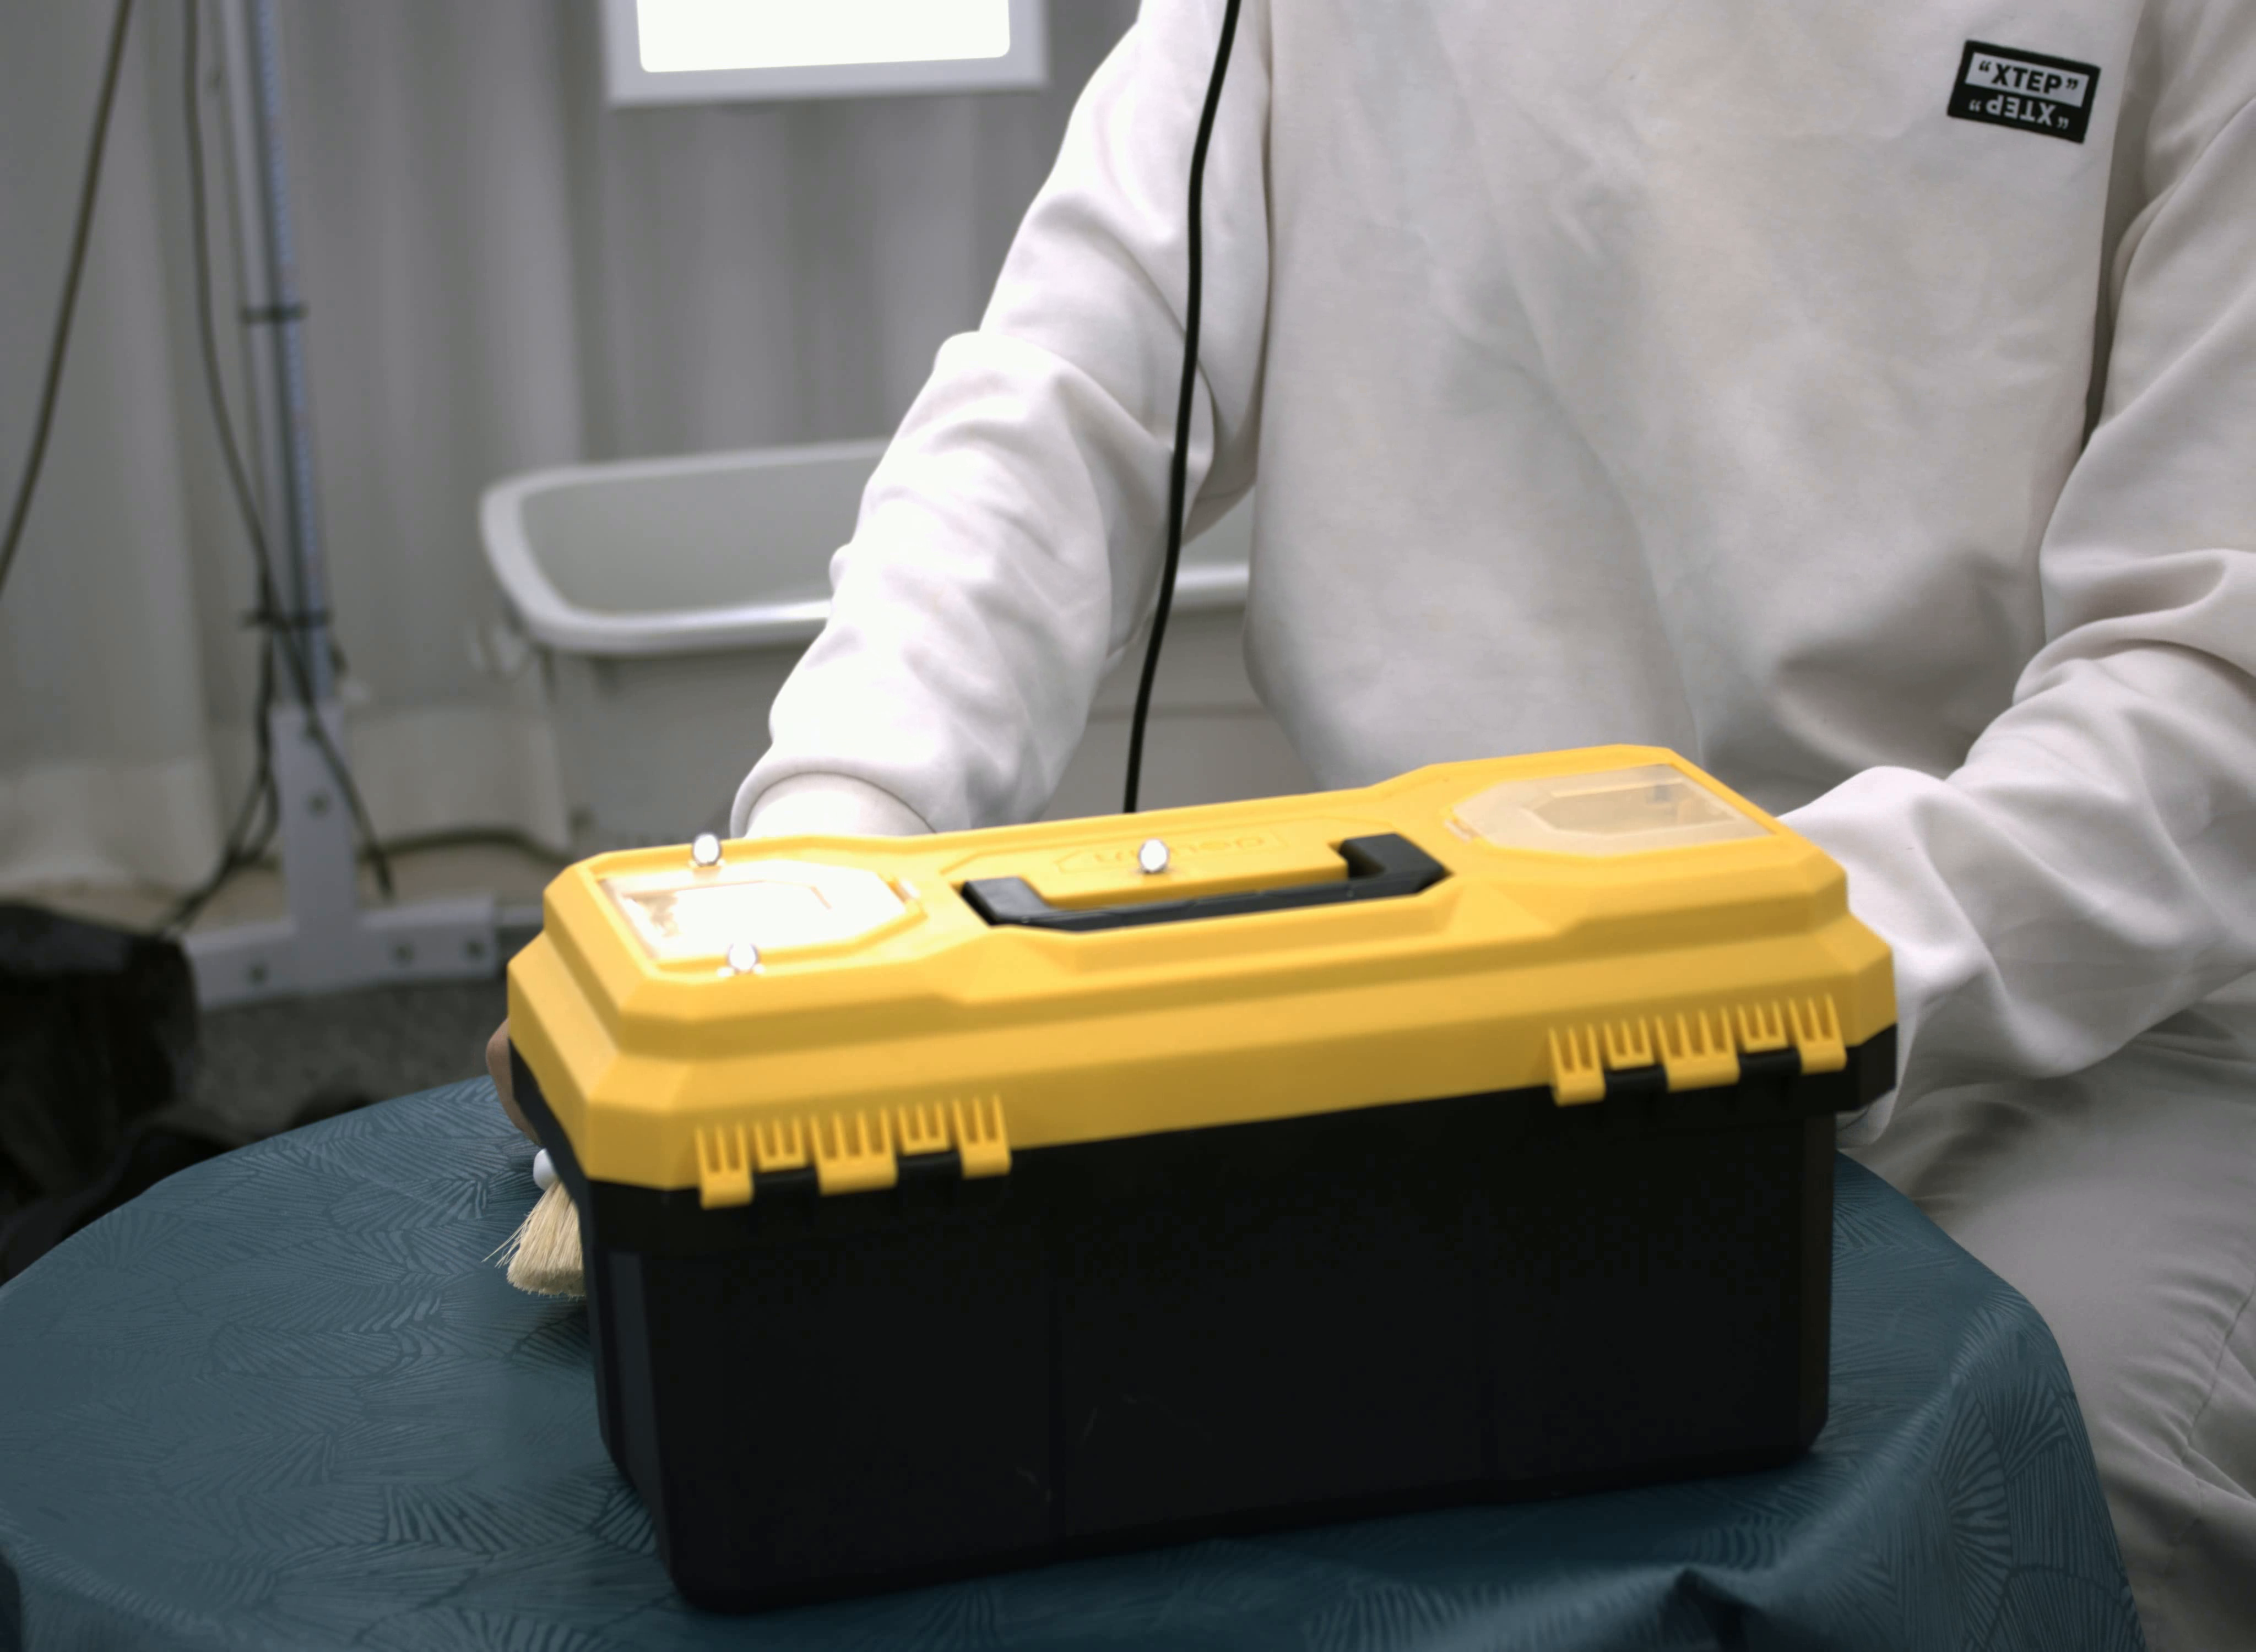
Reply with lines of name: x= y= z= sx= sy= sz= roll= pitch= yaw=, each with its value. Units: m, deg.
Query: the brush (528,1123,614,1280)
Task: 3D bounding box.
brush: x=-0.149 y=0.113 z=1.721 sx=0.068 sy=0.056 sz=0.266 roll=14 pitch=-2 yaw=-5

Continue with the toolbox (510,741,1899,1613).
toolbox: x=0.019 y=0.090 z=1.473 sx=0.350 sy=0.172 sz=0.183 roll=-6 pitch=16 yaw=-13
